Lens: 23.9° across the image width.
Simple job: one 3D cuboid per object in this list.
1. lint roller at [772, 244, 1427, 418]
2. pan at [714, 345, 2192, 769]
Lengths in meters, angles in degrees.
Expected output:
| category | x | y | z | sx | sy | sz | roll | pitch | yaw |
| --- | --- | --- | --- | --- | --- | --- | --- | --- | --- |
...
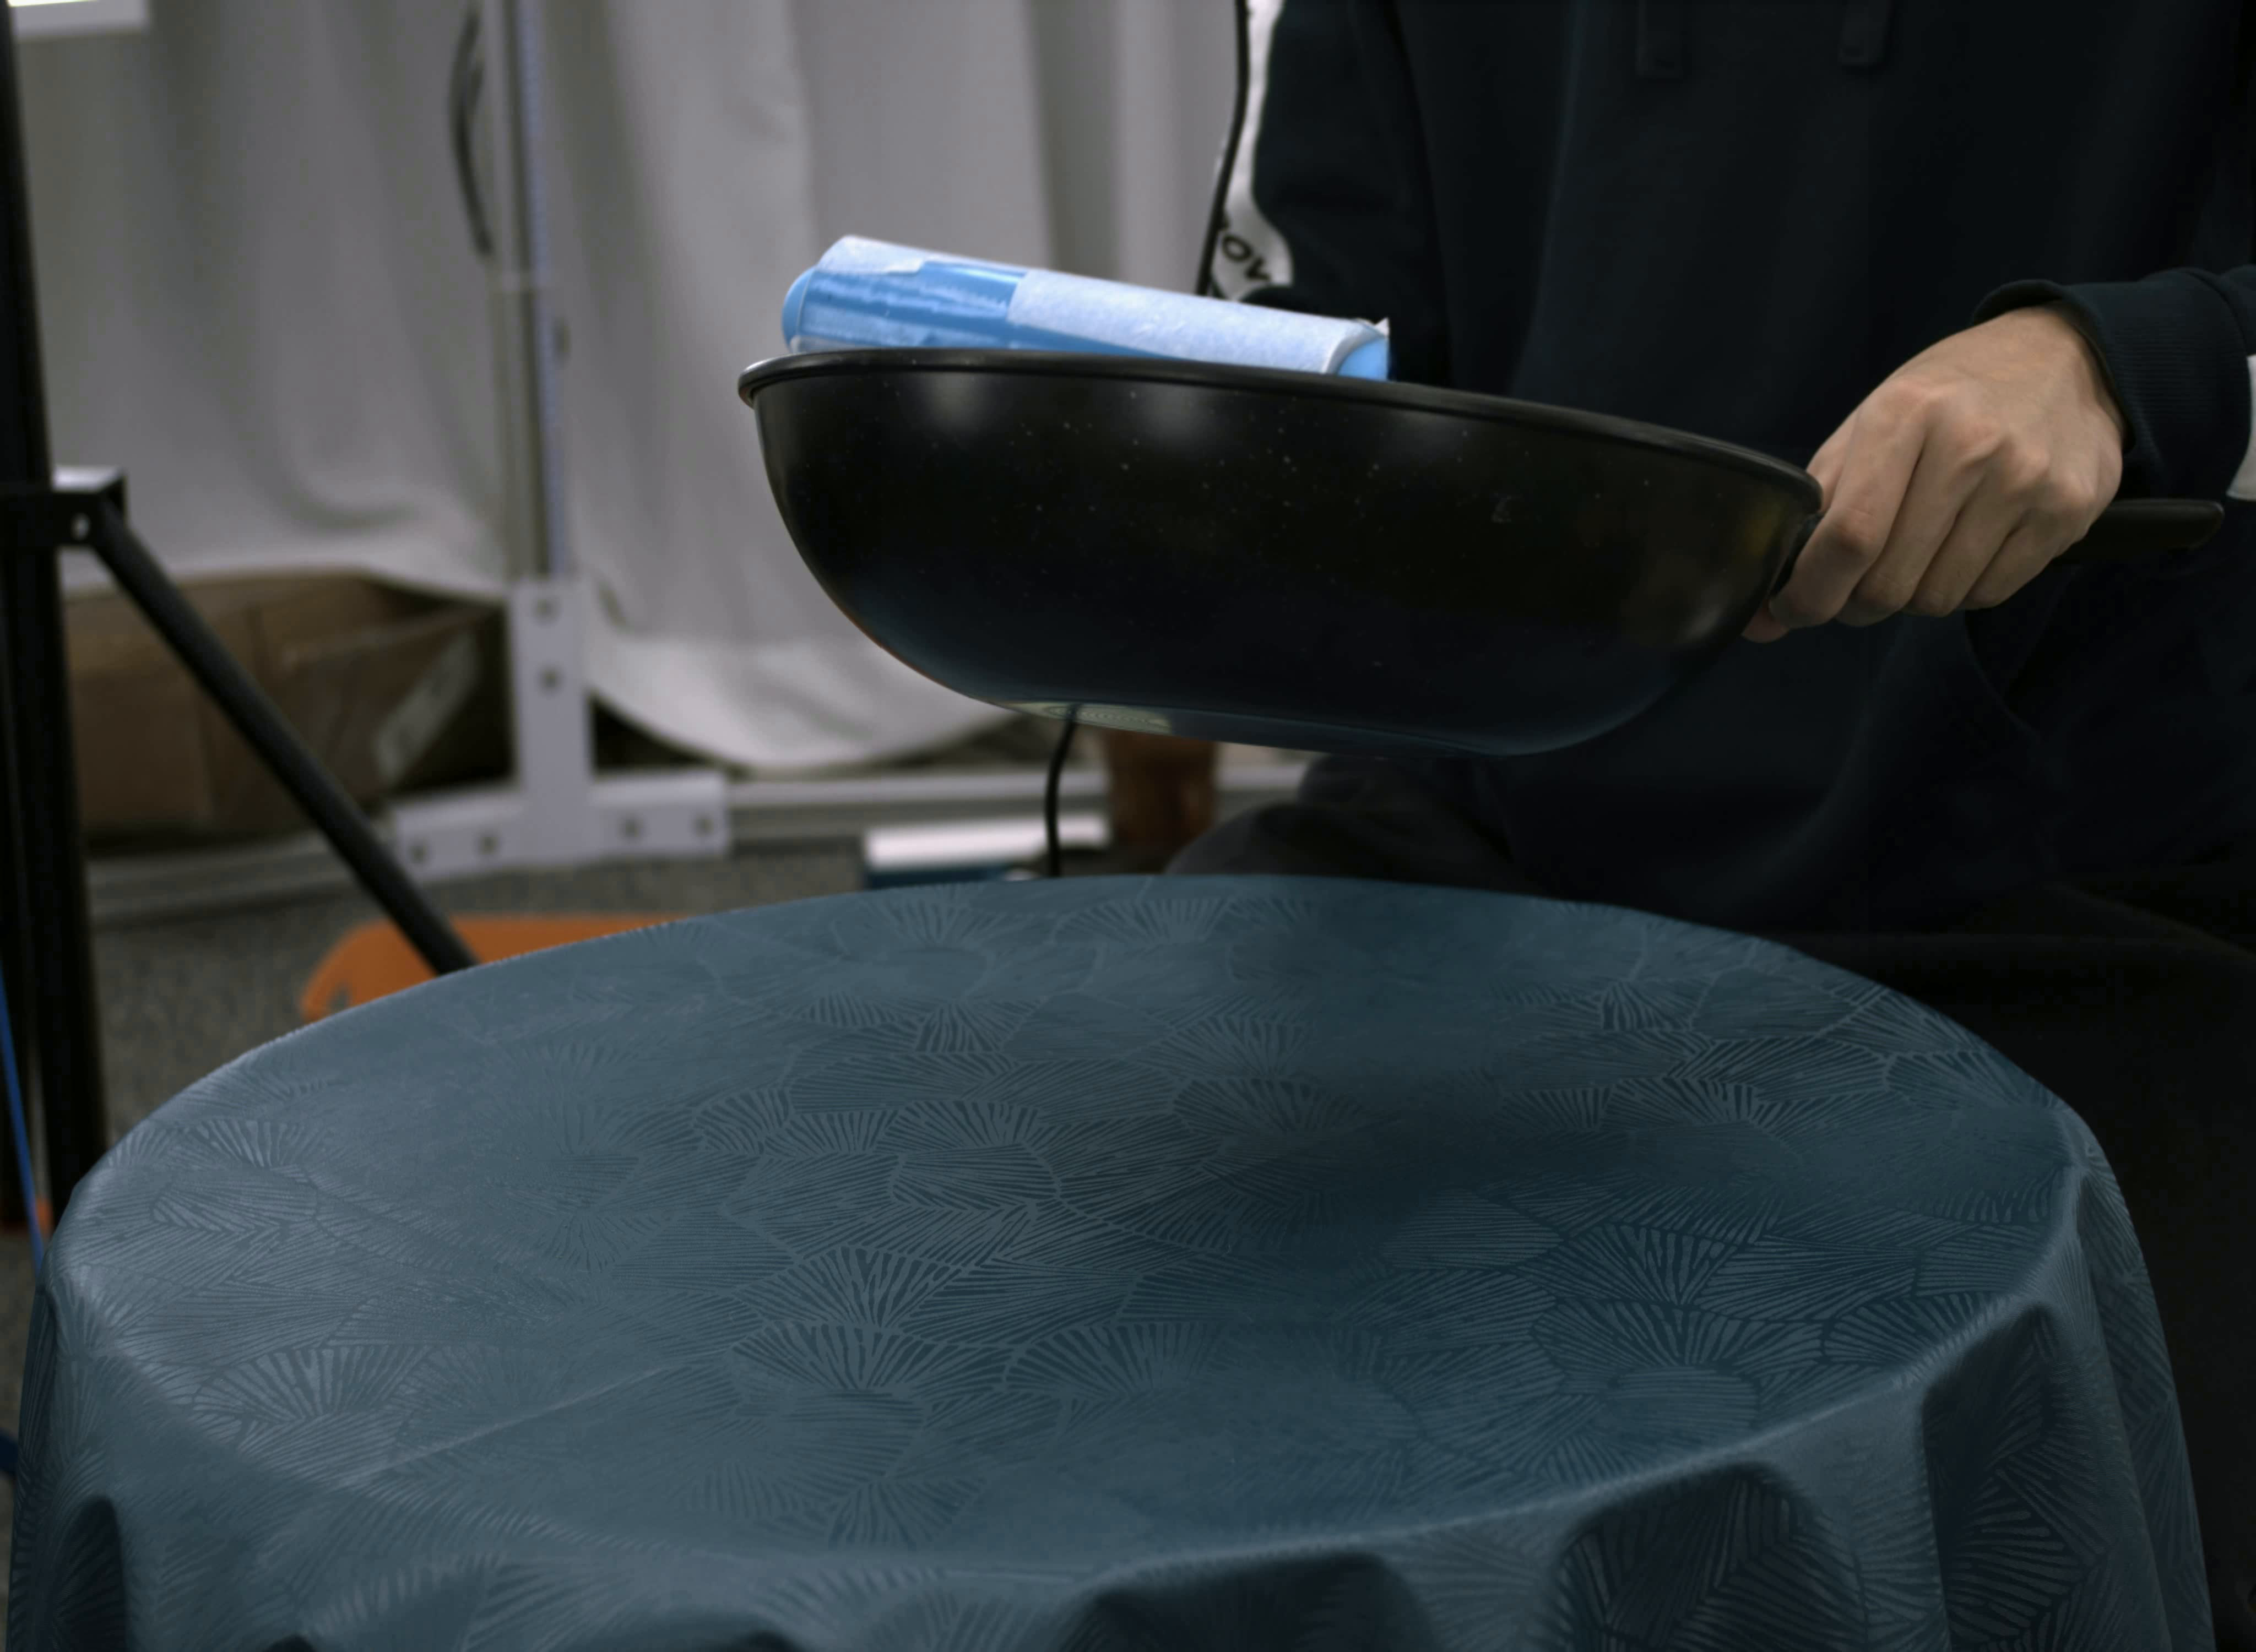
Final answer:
| category | x | y | z | sx | sy | sz | roll | pitch | yaw |
| --- | --- | --- | --- | --- | --- | --- | --- | --- | --- |
| lint roller | 0.009 | -0.134 | 1.756 | 0.232 | 0.068 | 0.176 | 11 | -9 | 26 |
| pan | 0.108 | -0.070 | 1.532 | 0.466 | 0.112 | 0.315 | 7 | -1 | -24 |
